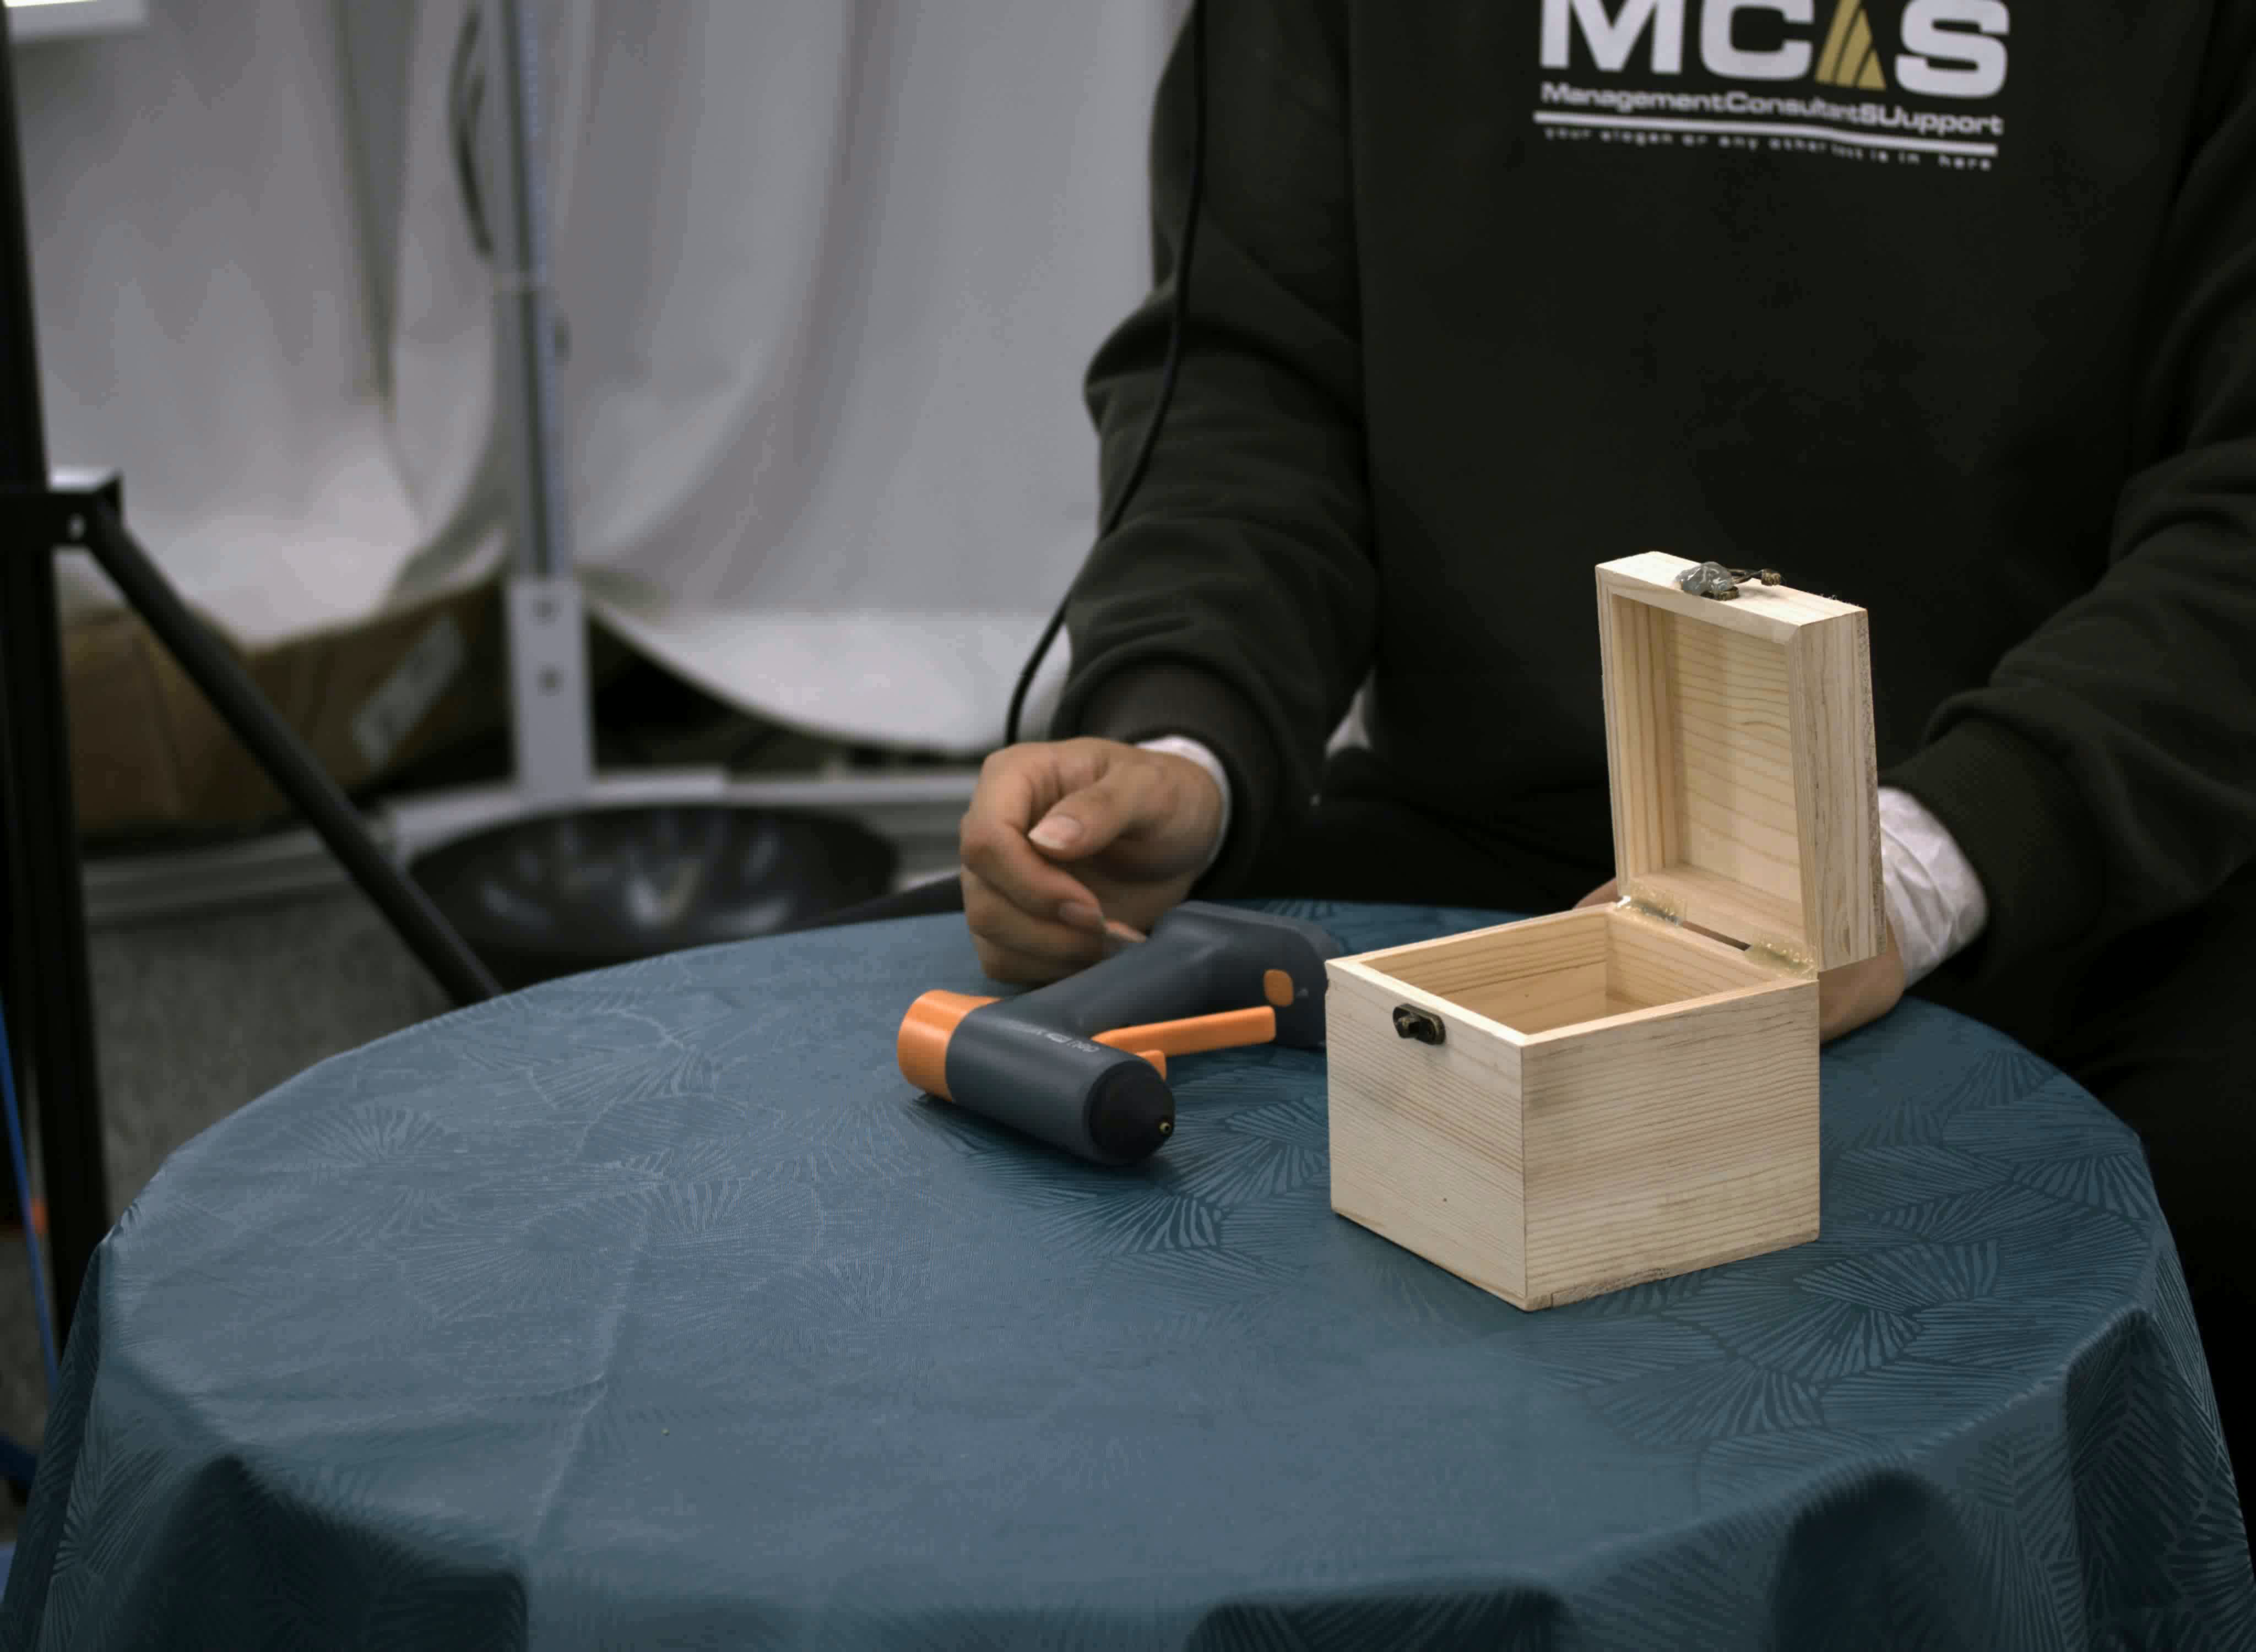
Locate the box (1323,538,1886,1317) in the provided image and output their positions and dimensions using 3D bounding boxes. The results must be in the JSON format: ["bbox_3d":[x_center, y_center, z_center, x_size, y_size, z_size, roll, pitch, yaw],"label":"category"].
[{"bbox_3d":[0.131,0.025,1.490,0.131,0.184,0.105,-11,18,-29],"label":"box"}]

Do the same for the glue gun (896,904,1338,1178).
[{"bbox_3d":[0.002,0.068,1.639,0.120,0.041,0.137,12,23,36],"label":"glue gun"}]
